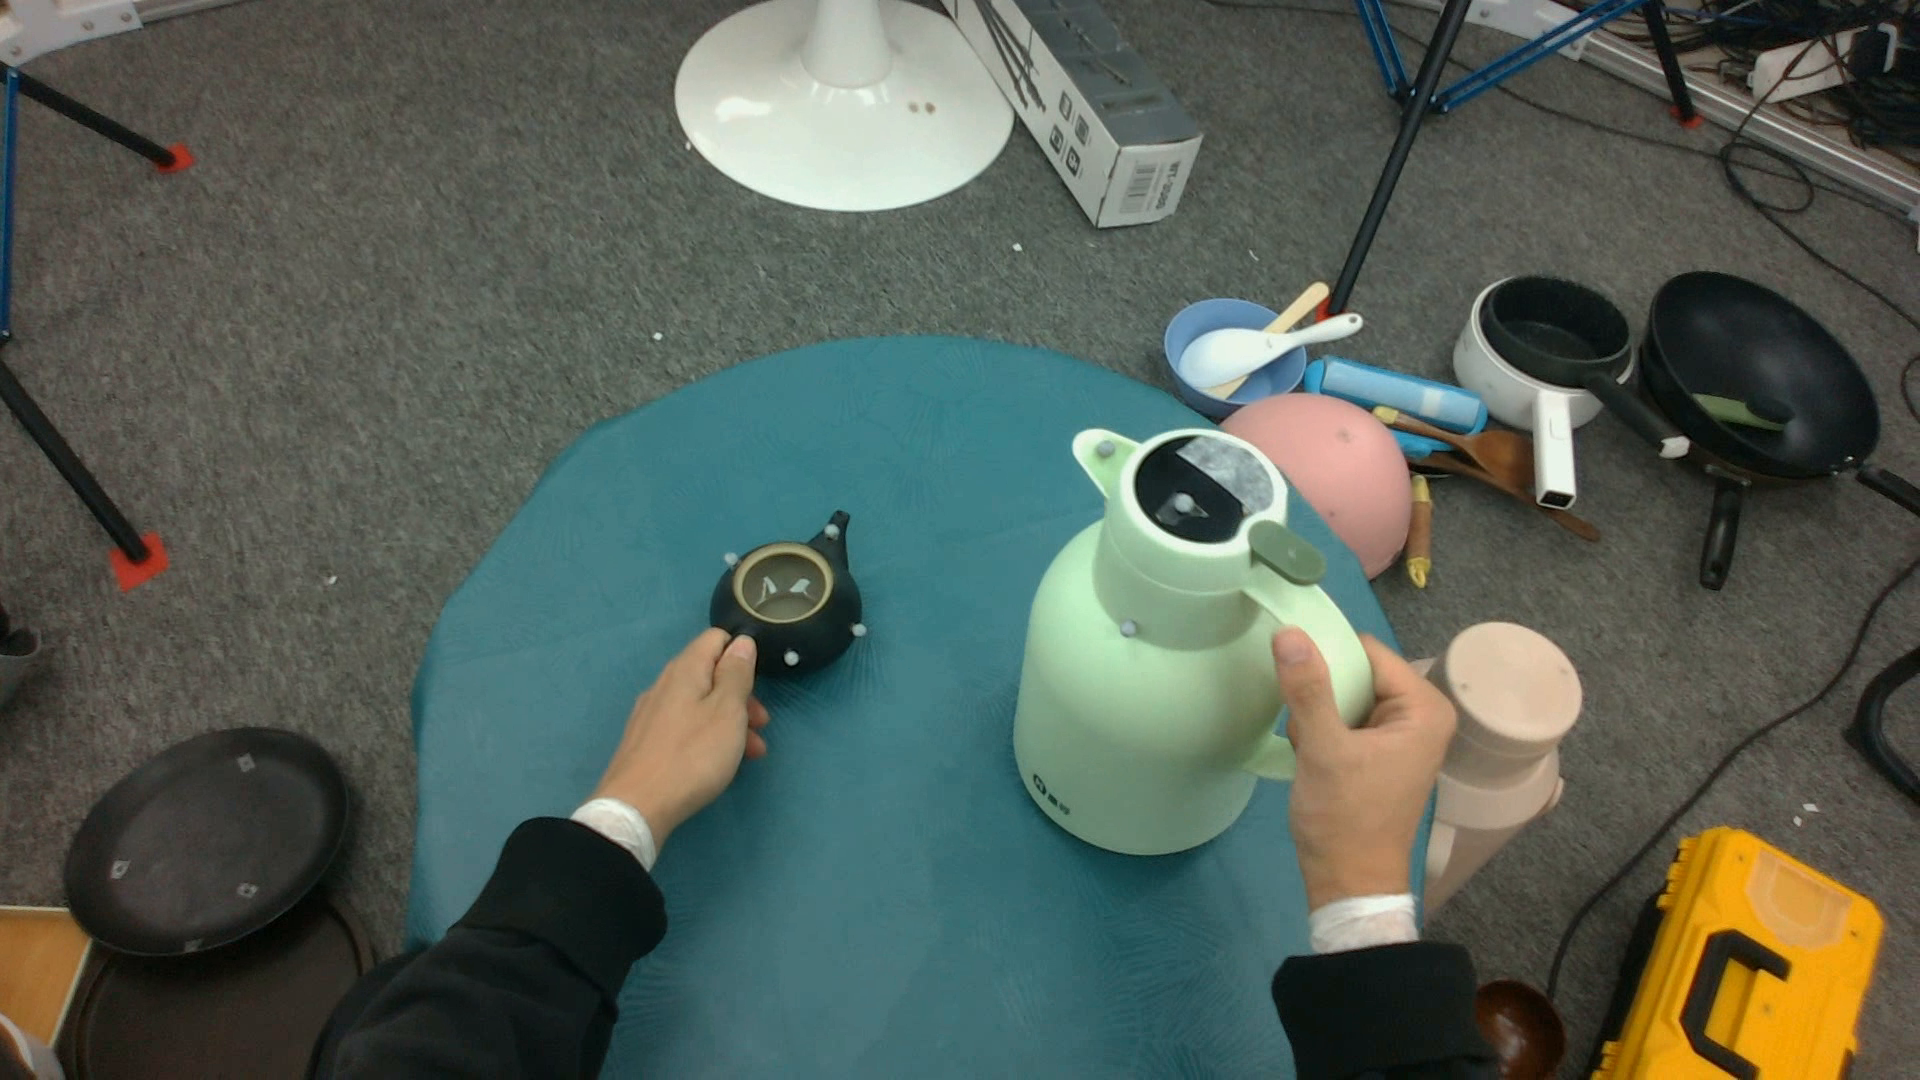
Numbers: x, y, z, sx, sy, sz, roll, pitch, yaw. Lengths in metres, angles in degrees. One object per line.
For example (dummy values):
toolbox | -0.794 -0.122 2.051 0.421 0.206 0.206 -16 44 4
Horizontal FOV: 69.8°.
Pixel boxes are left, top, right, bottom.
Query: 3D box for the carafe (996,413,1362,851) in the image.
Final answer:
carafe | 0.108 0.055 0.710 0.187 0.255 0.145 40 59 22

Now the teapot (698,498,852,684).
teapot | -0.110 0.034 0.816 0.091 0.053 0.134 23 54 16
